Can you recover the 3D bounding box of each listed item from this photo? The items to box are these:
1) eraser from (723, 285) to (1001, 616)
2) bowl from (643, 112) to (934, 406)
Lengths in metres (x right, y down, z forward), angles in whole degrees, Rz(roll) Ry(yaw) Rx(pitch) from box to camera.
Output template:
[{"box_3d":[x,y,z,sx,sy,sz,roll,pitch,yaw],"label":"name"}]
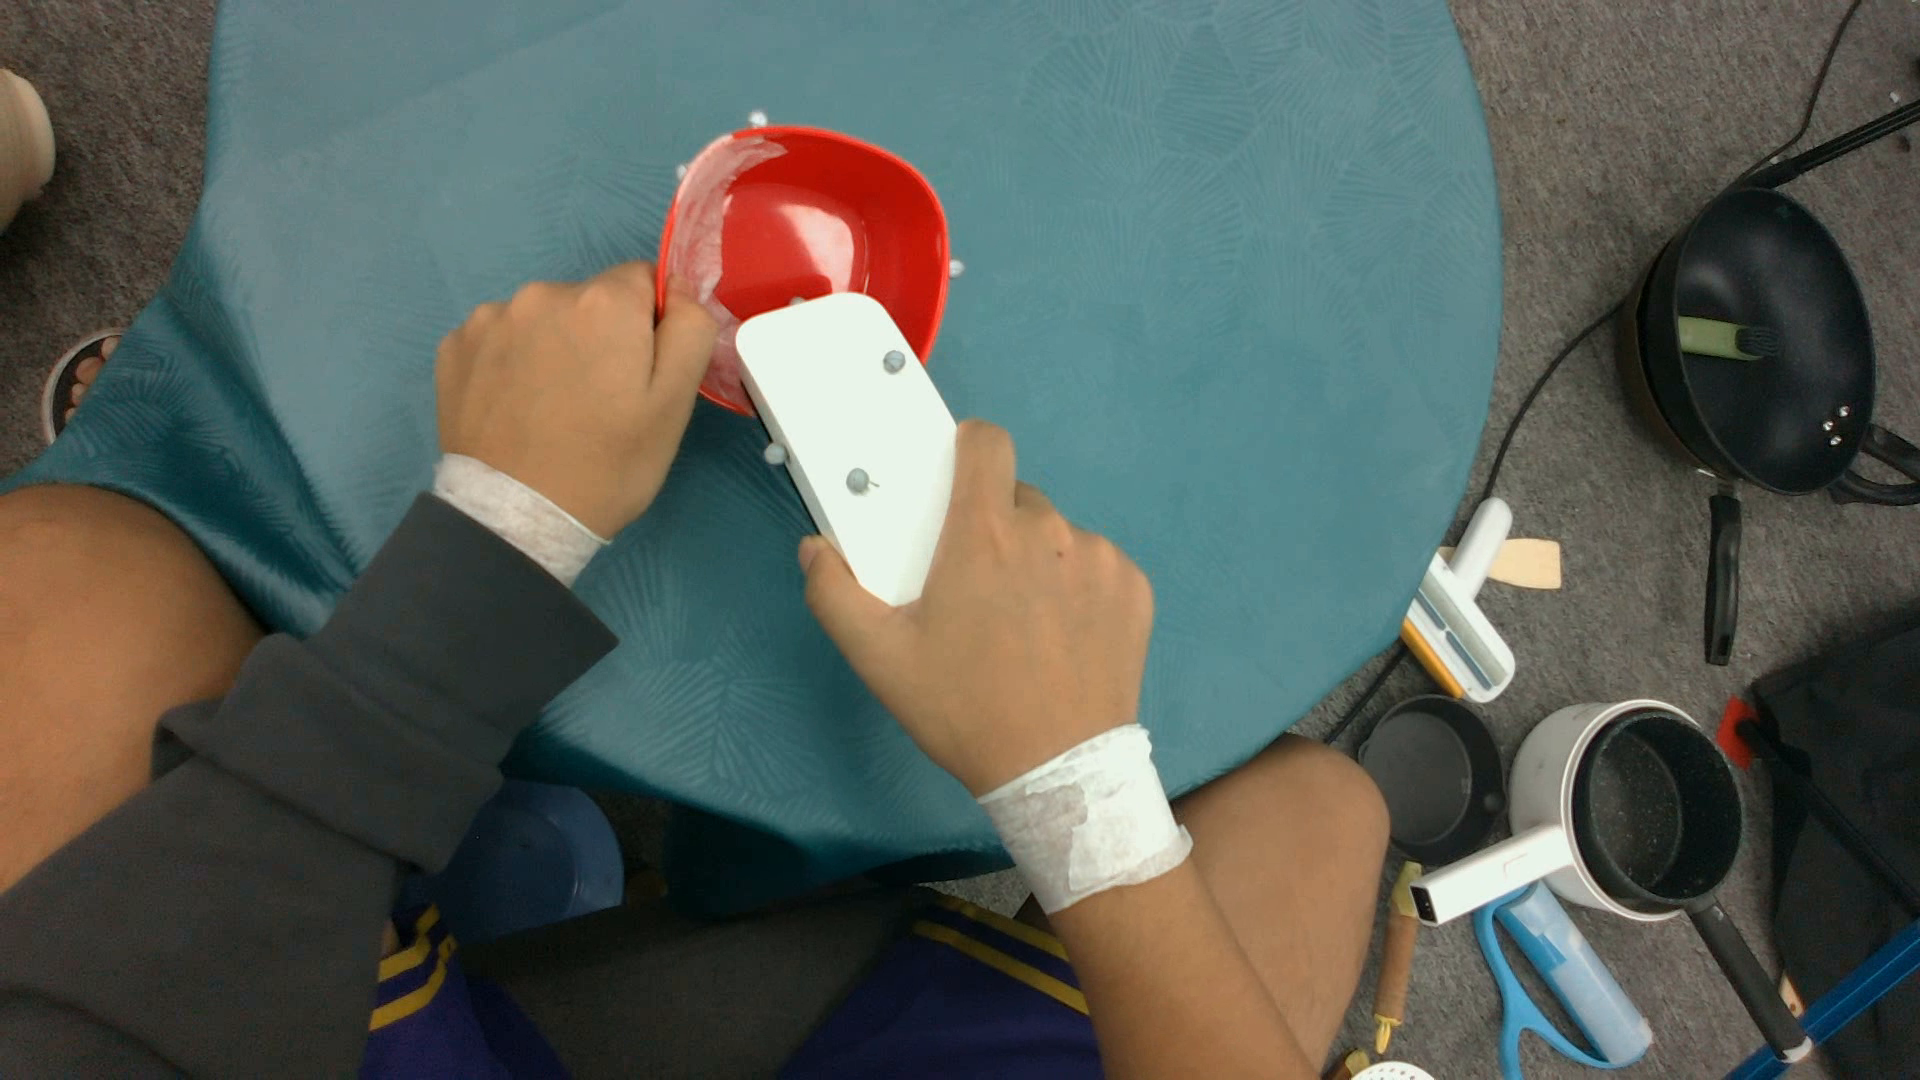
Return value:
[{"box_3d":[-0.039,-0.036,0.506,0.063,0.034,0.131,-20,67,-22],"label":"eraser"},{"box_3d":[-0.070,-0.109,0.536,0.119,0.051,0.118,-7,109,-20],"label":"bowl"}]
